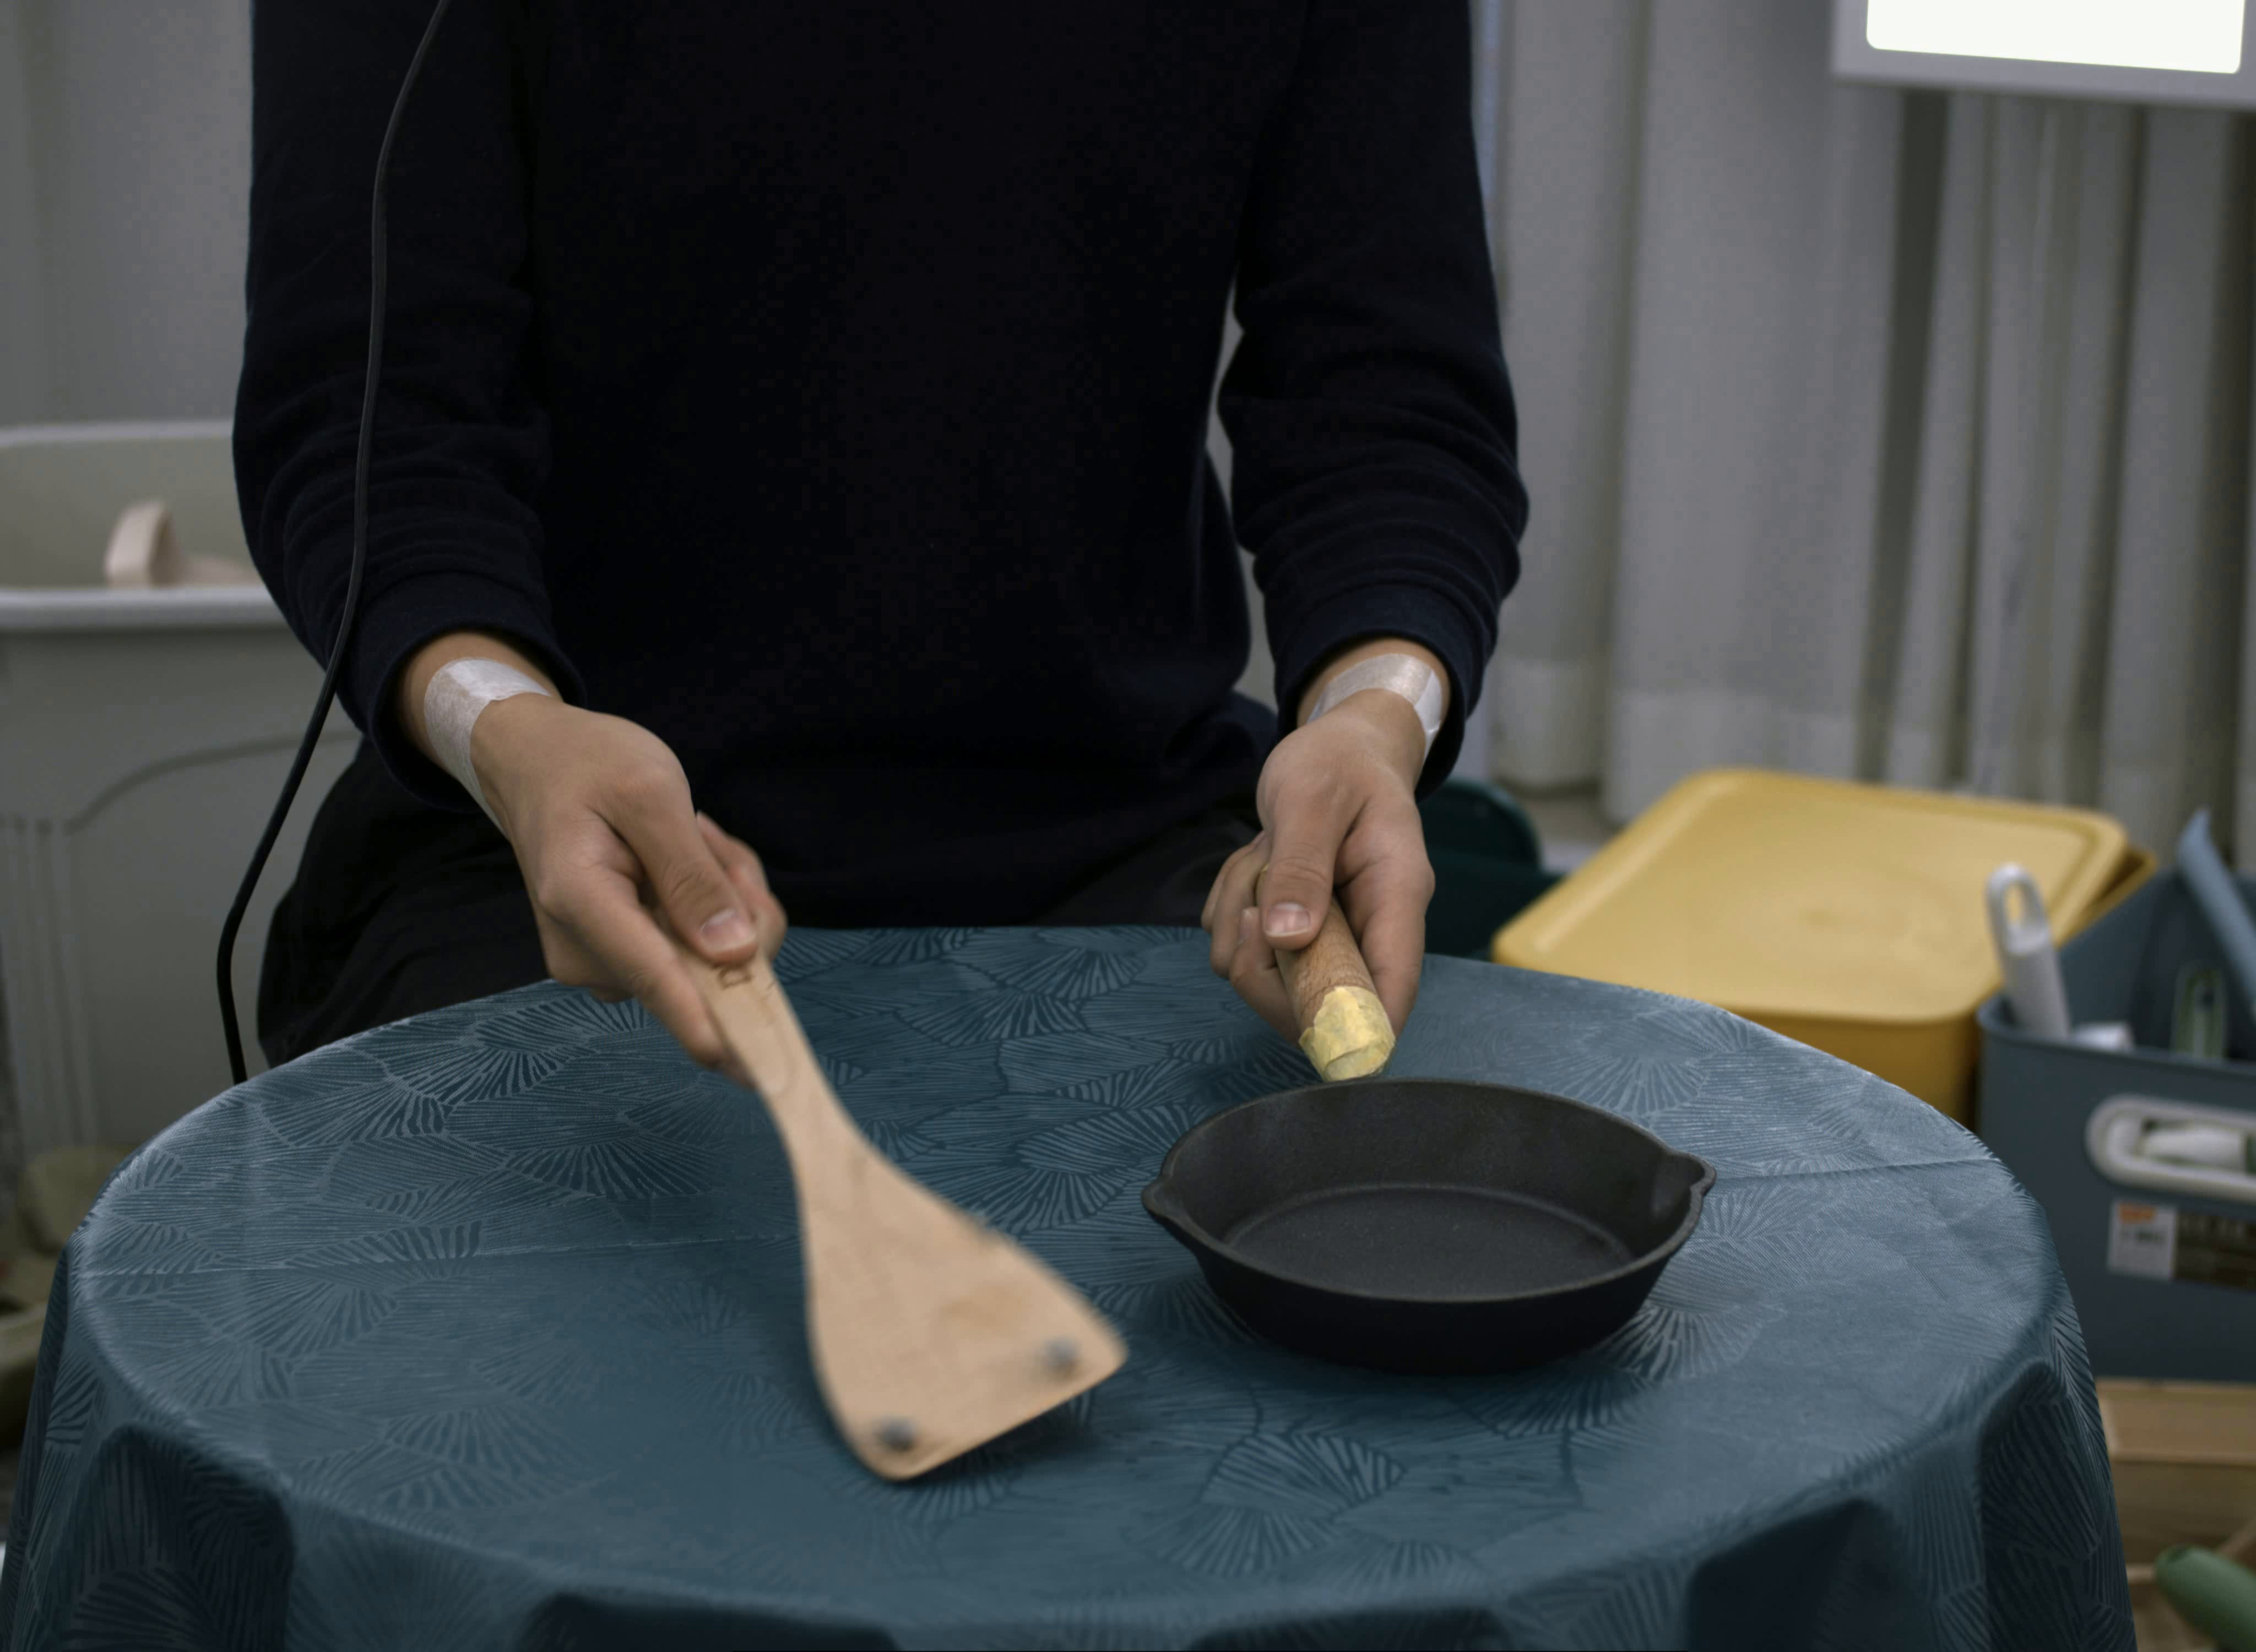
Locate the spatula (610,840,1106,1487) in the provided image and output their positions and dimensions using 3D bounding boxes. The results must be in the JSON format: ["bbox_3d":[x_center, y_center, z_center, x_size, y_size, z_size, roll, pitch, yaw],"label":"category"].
[{"bbox_3d":[-0.094,0.087,1.528,0.080,0.017,0.323,-14,37,-16],"label":"spatula"}]

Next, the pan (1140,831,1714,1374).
[{"bbox_3d":[0.076,0.080,1.603,0.169,0.050,0.321,-2,22,-7],"label":"pan"}]
